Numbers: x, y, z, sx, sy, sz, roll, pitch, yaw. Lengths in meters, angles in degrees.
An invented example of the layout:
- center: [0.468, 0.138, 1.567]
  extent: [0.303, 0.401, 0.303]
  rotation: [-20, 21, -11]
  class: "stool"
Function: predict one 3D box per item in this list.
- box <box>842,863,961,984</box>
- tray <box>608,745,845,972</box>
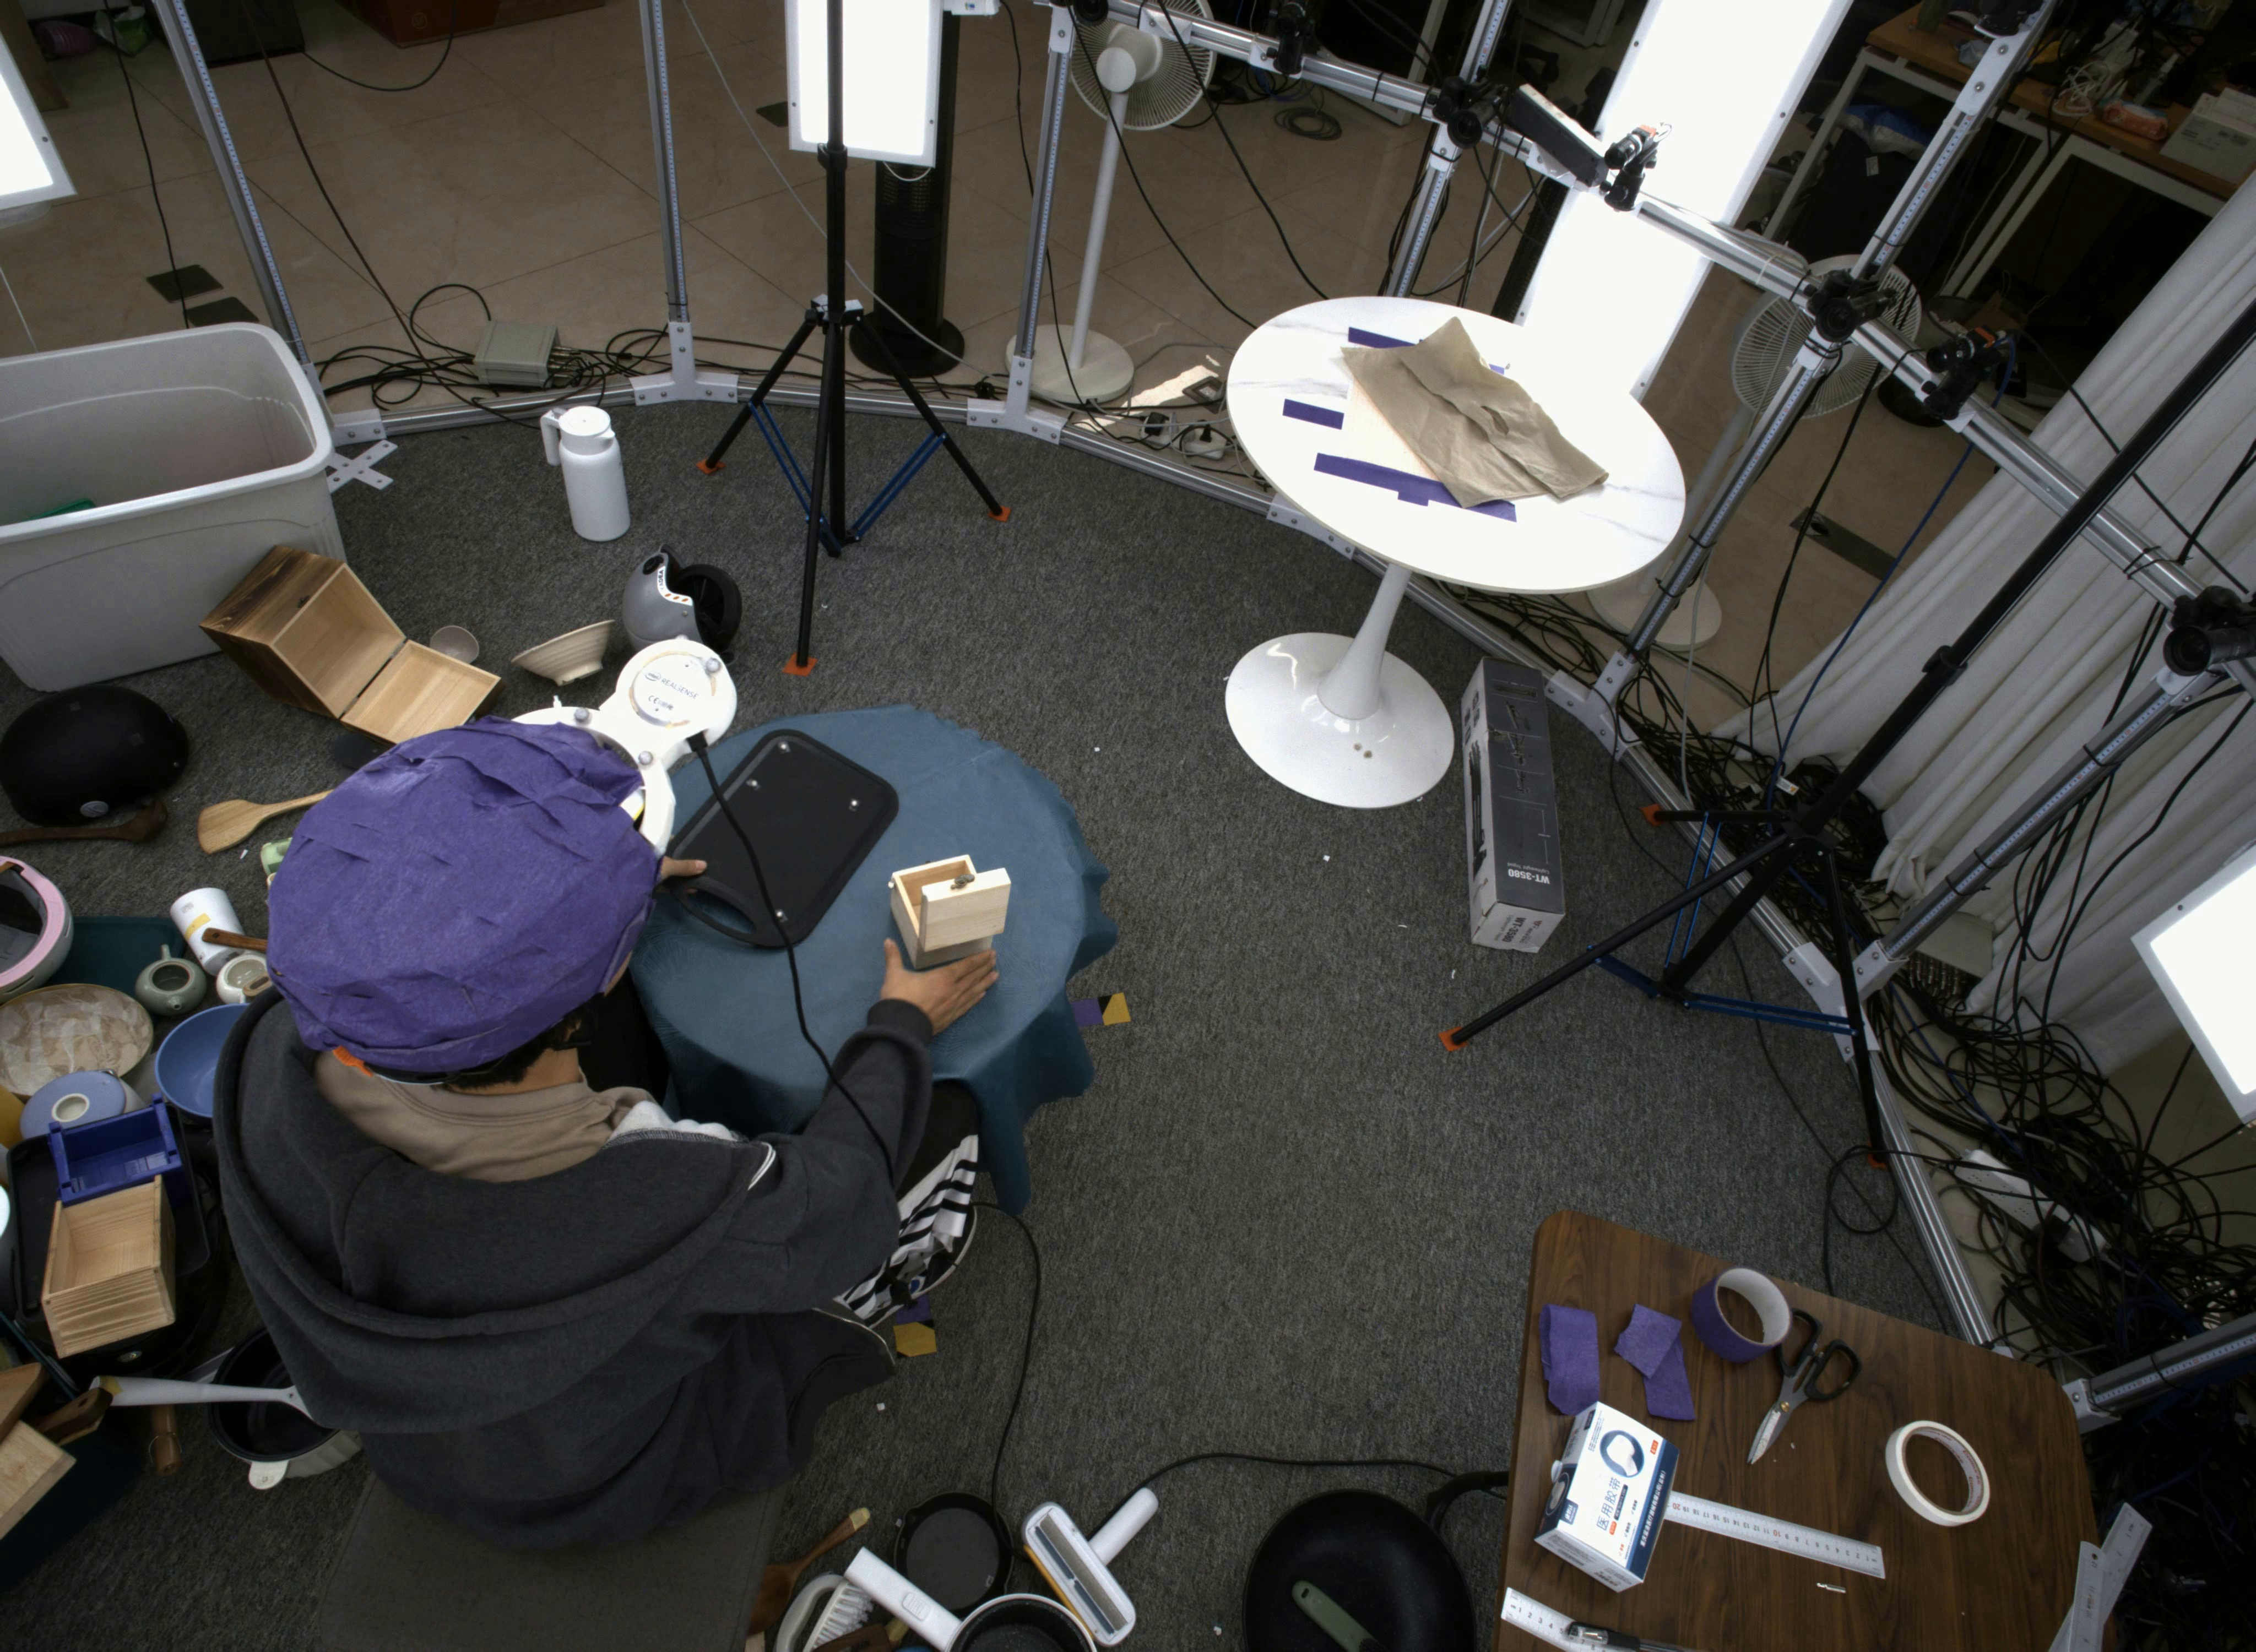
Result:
- center: [-0.278, 0.094, 1.577]
  extent: [0.103, 0.188, 0.130]
  rotation: [-18, 59, -25]
  class: "box"
- center: [-0.512, 0.037, 1.649]
  extent: [0.211, 0.010, 0.322]
  rotation: [30, 51, -5]
  class: "tray"
